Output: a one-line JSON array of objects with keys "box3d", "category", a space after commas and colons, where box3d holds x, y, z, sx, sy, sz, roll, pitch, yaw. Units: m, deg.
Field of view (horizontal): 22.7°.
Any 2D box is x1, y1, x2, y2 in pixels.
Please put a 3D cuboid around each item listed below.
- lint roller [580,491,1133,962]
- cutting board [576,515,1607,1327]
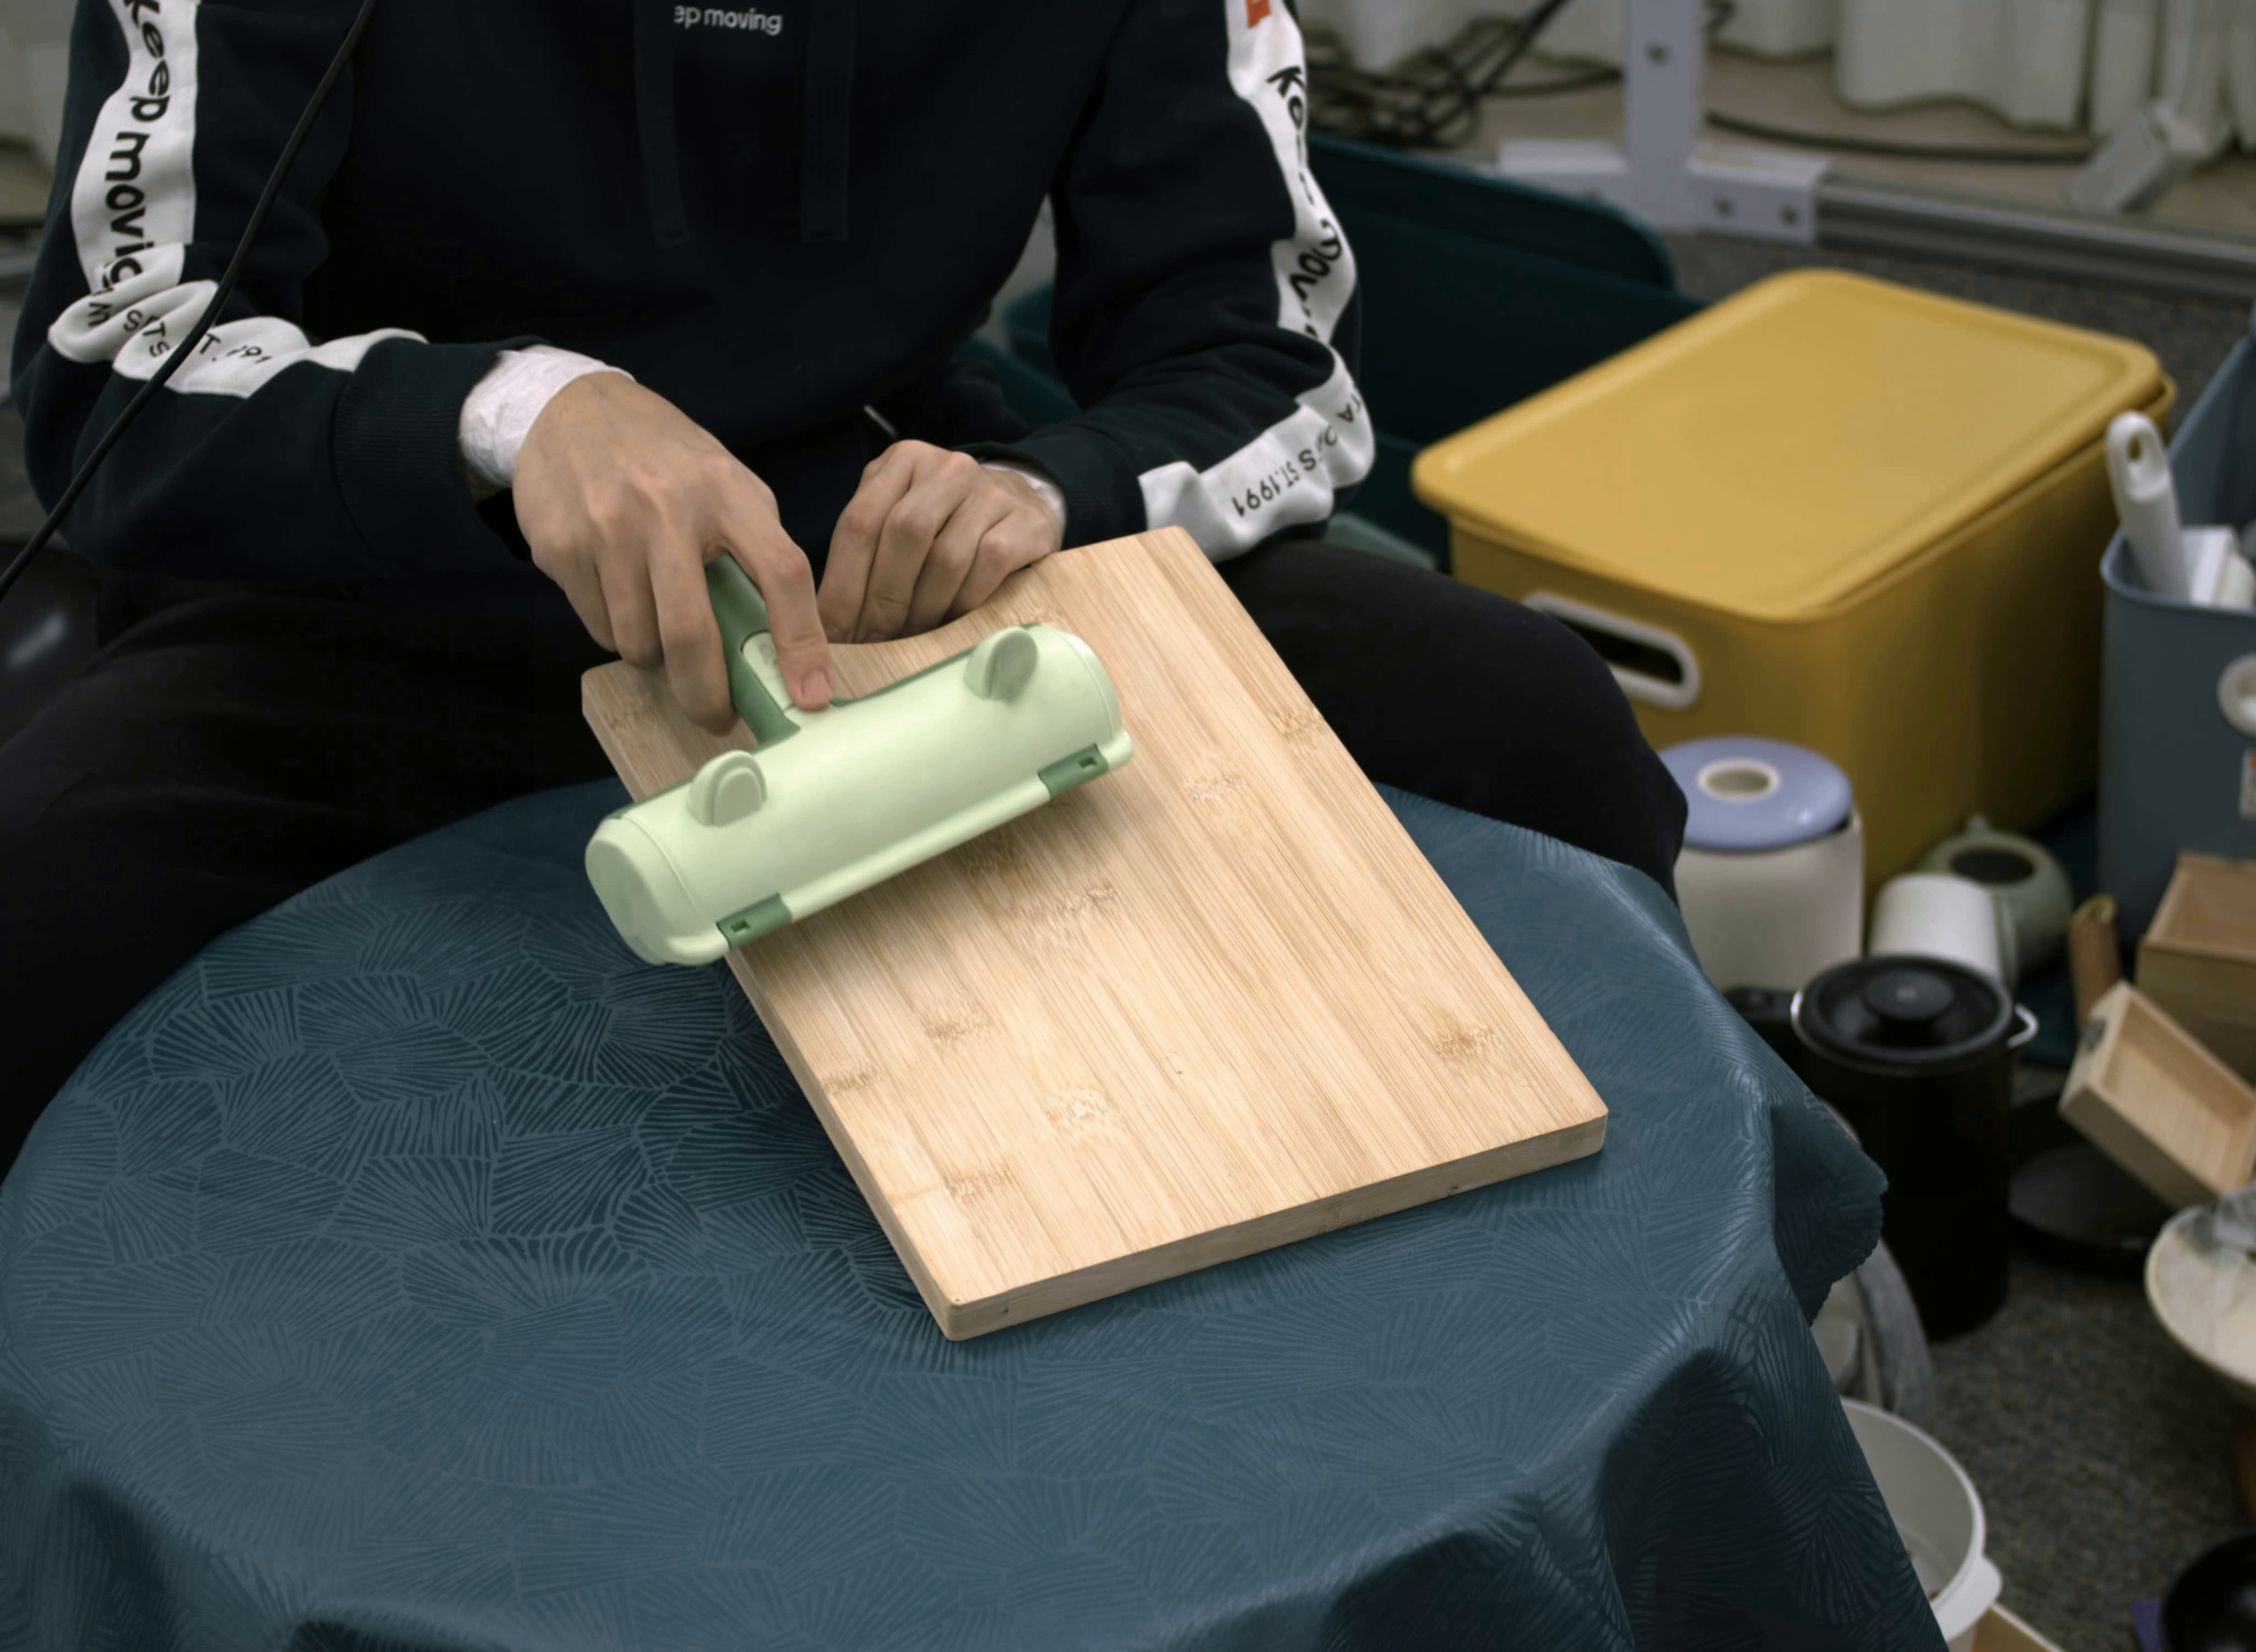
[{"box3d": [-0.121, -0.060, 1.930, 0.200, 0.081, 0.184, -25, 69, -30], "category": "lint roller"}, {"box3d": [-0.020, 0.025, 1.942, 0.252, 0.023, 0.352, -14, 44, -21], "category": "cutting board"}]
